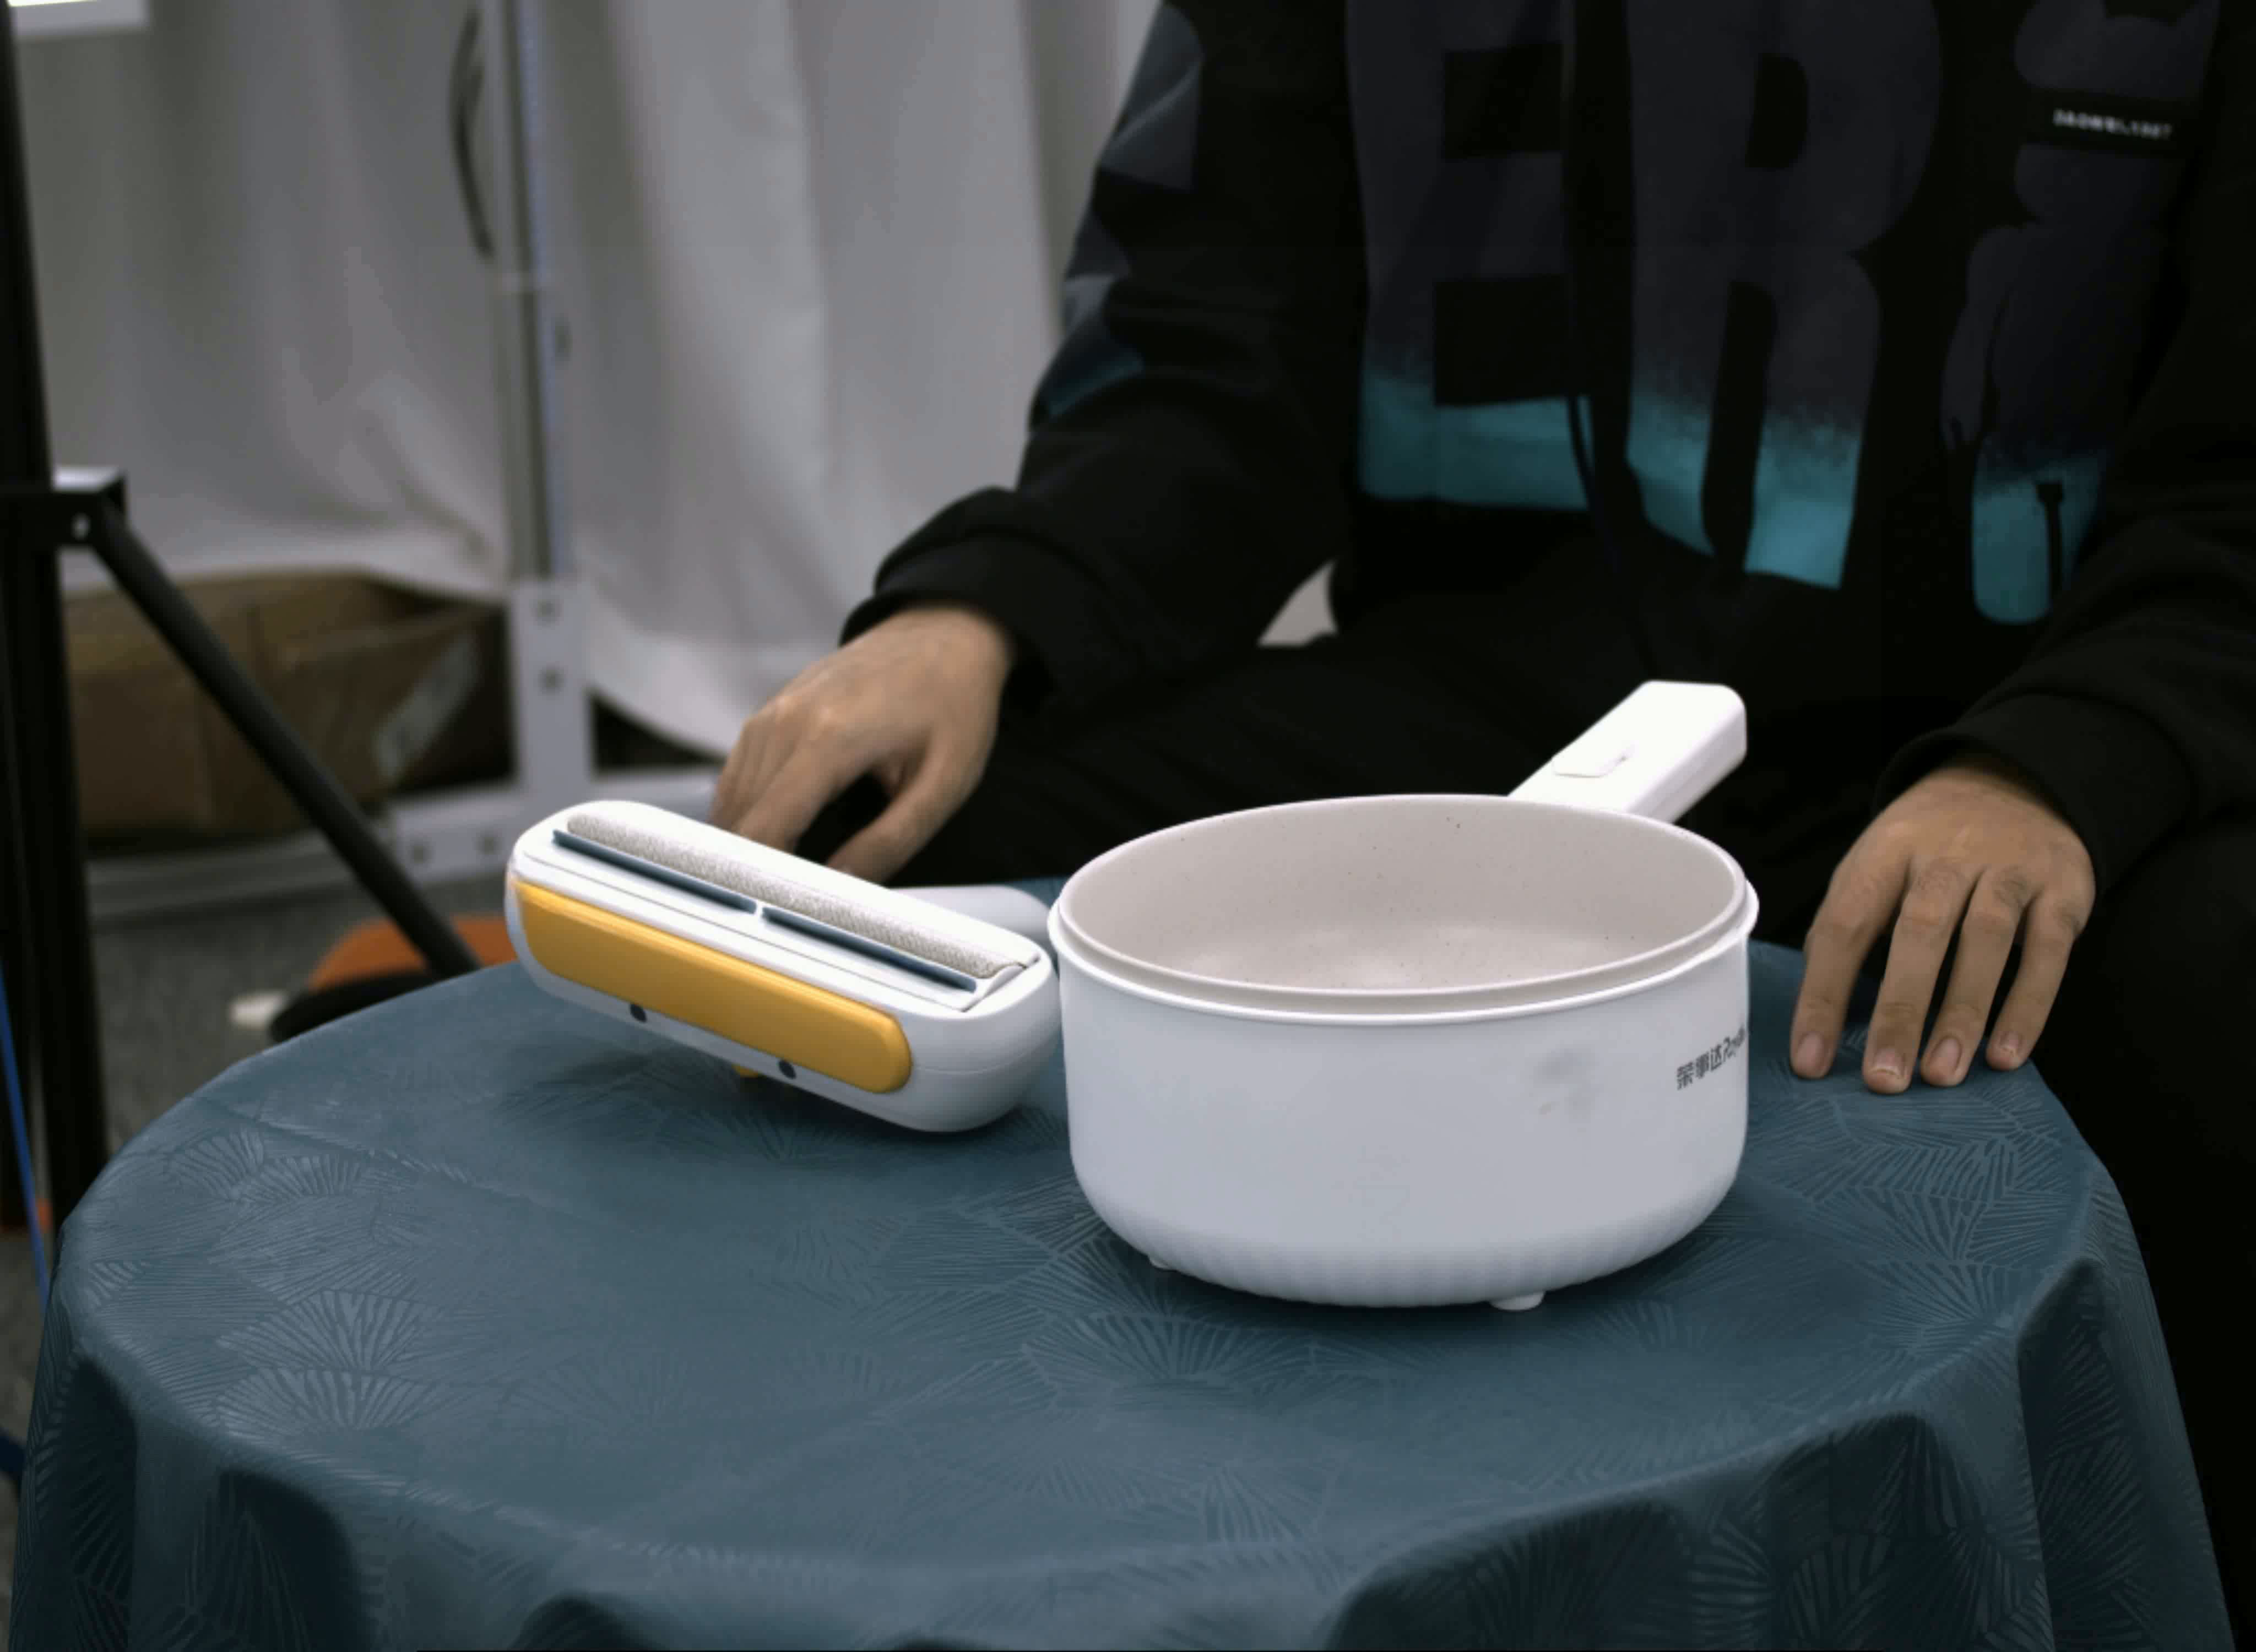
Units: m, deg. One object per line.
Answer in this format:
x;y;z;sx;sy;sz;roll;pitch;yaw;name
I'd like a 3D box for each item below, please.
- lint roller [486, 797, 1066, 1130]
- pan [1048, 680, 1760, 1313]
-0.081;0.035;1.705;0.197;0.074;0.188;15;22;34;lint roller
0.110;0.045;1.572;0.204;0.102;0.349;4;17;24;pan
